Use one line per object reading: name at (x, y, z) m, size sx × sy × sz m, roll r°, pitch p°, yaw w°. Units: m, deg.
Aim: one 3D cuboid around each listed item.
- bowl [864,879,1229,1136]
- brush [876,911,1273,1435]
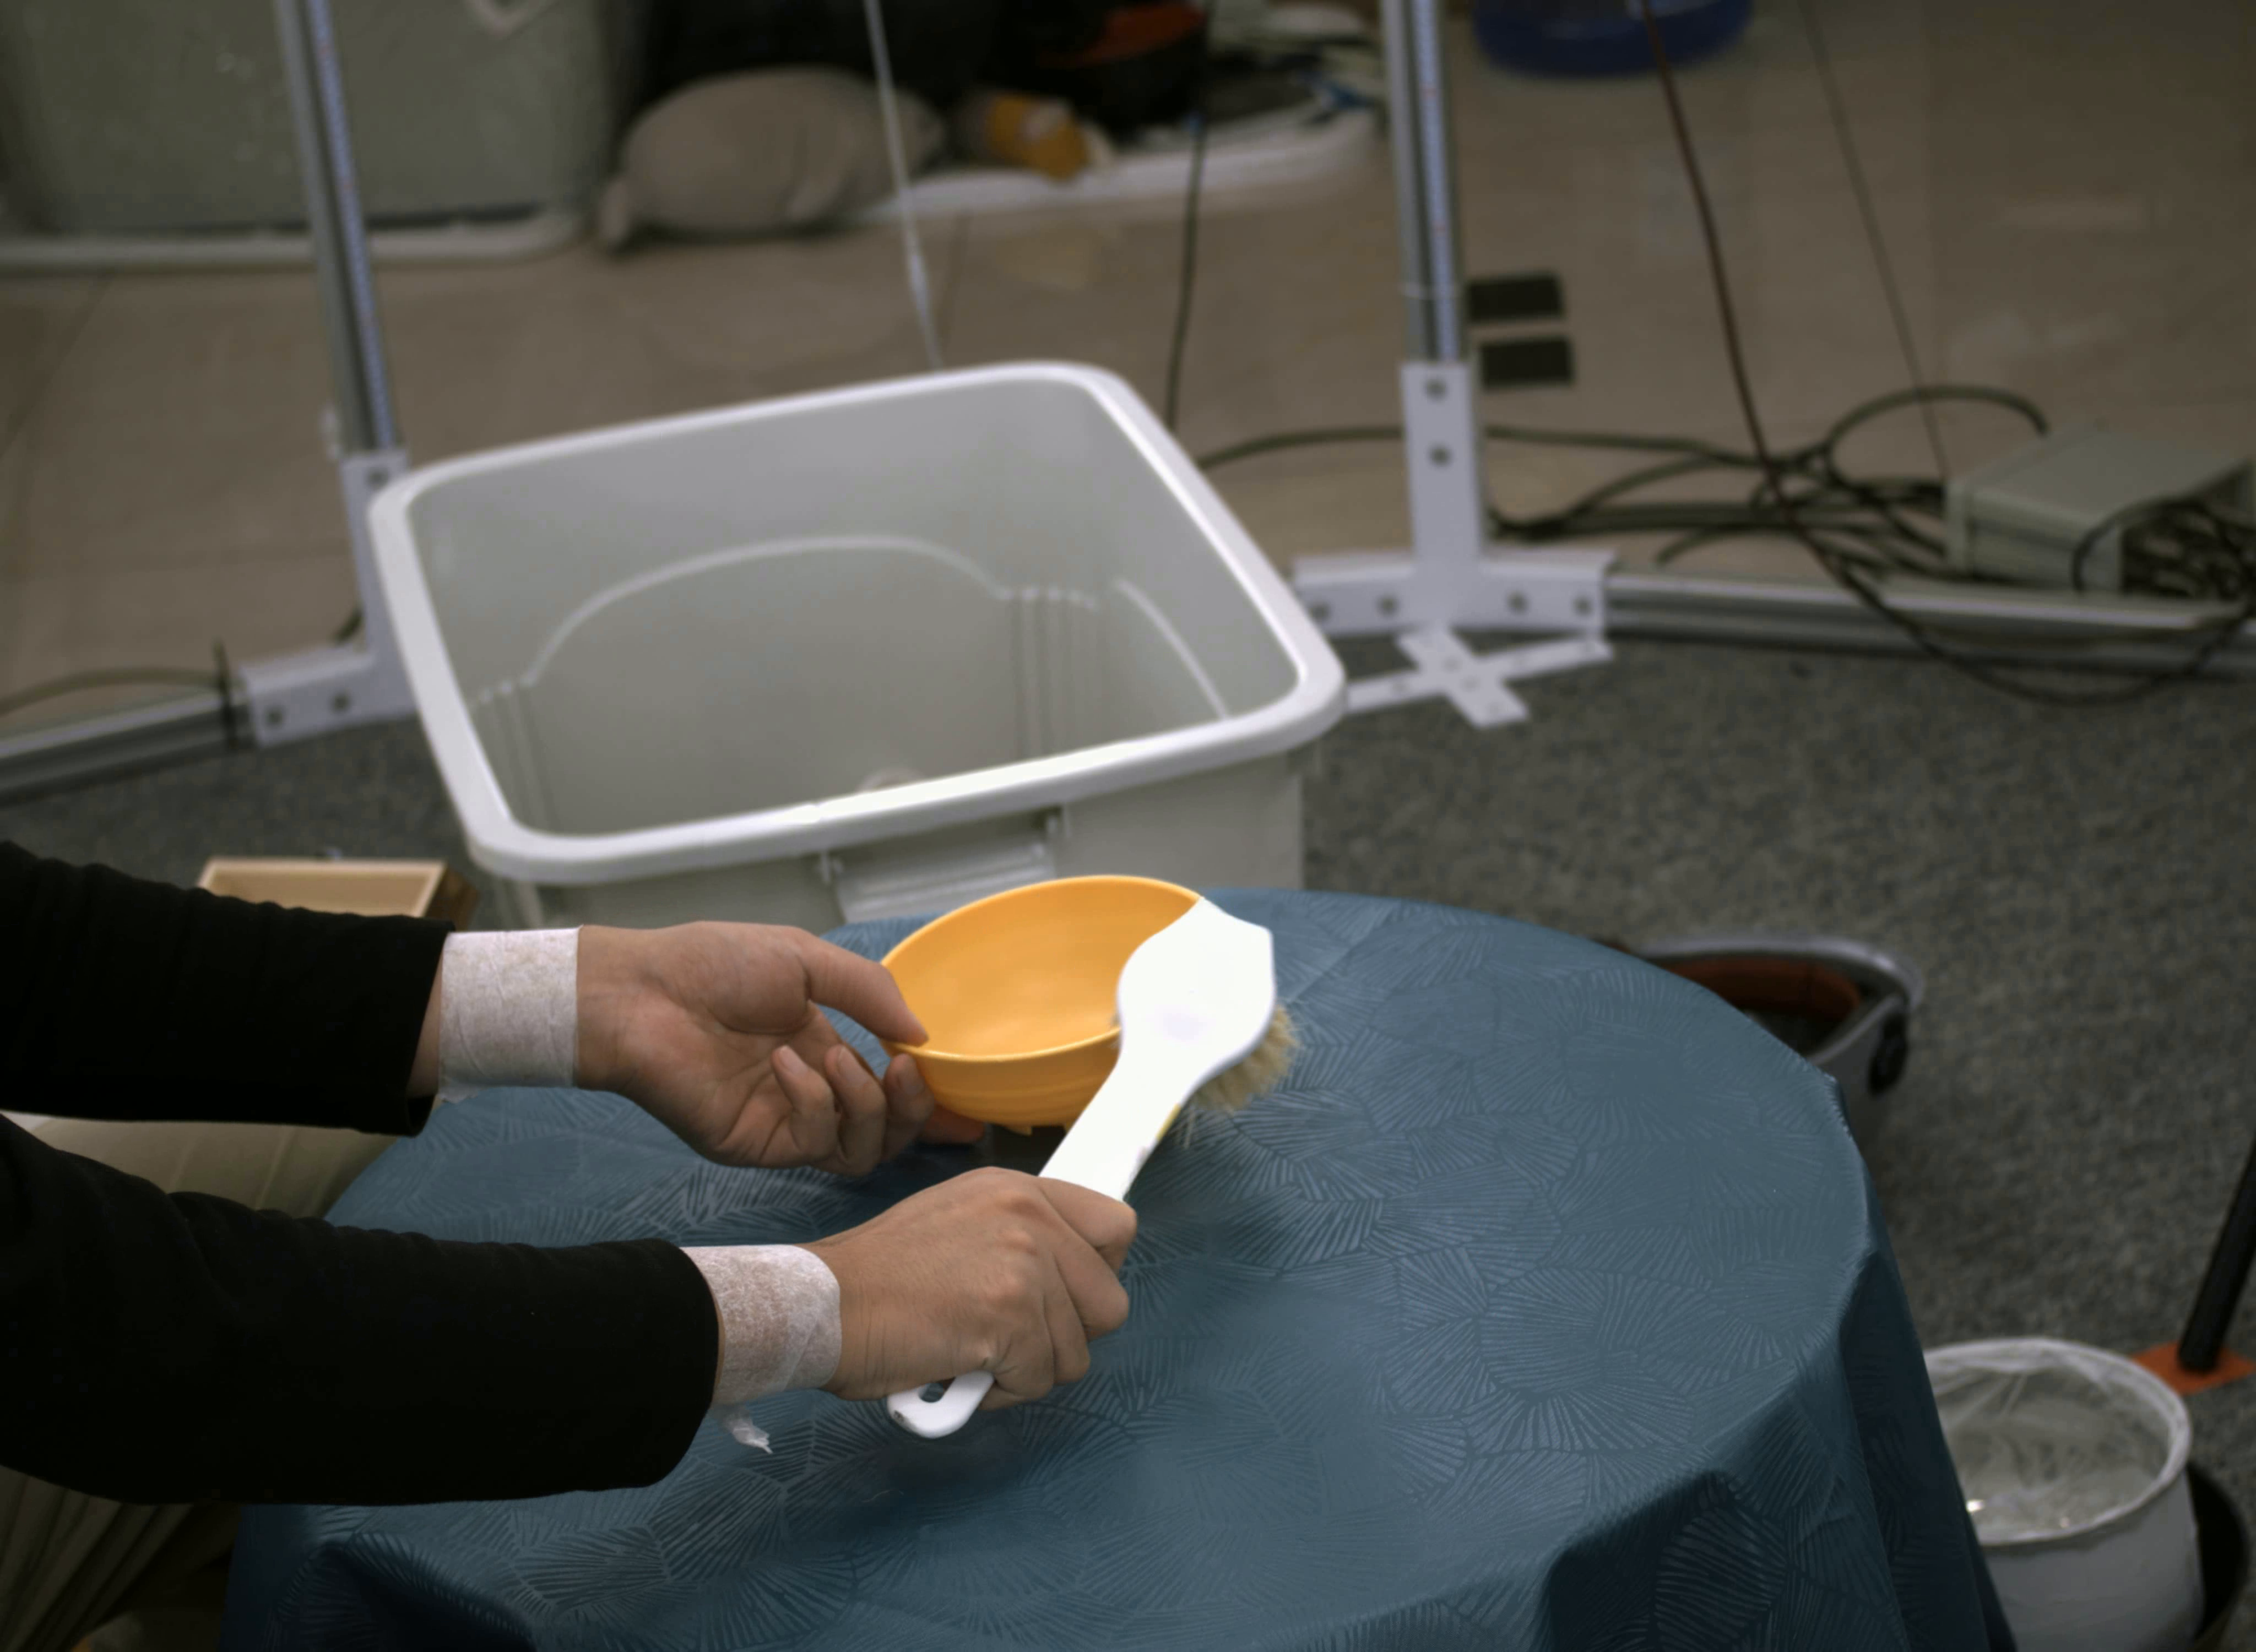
bowl at (-0.026, 0.079, 2.203) m, size 0.145 × 0.061 × 0.143 m, roll -11°, pitch 25°, yaw 5°
brush at (-0.024, 0.135, 2.040) m, size 0.068 × 0.057 × 0.262 m, roll 15°, pitch 49°, yaw 19°
